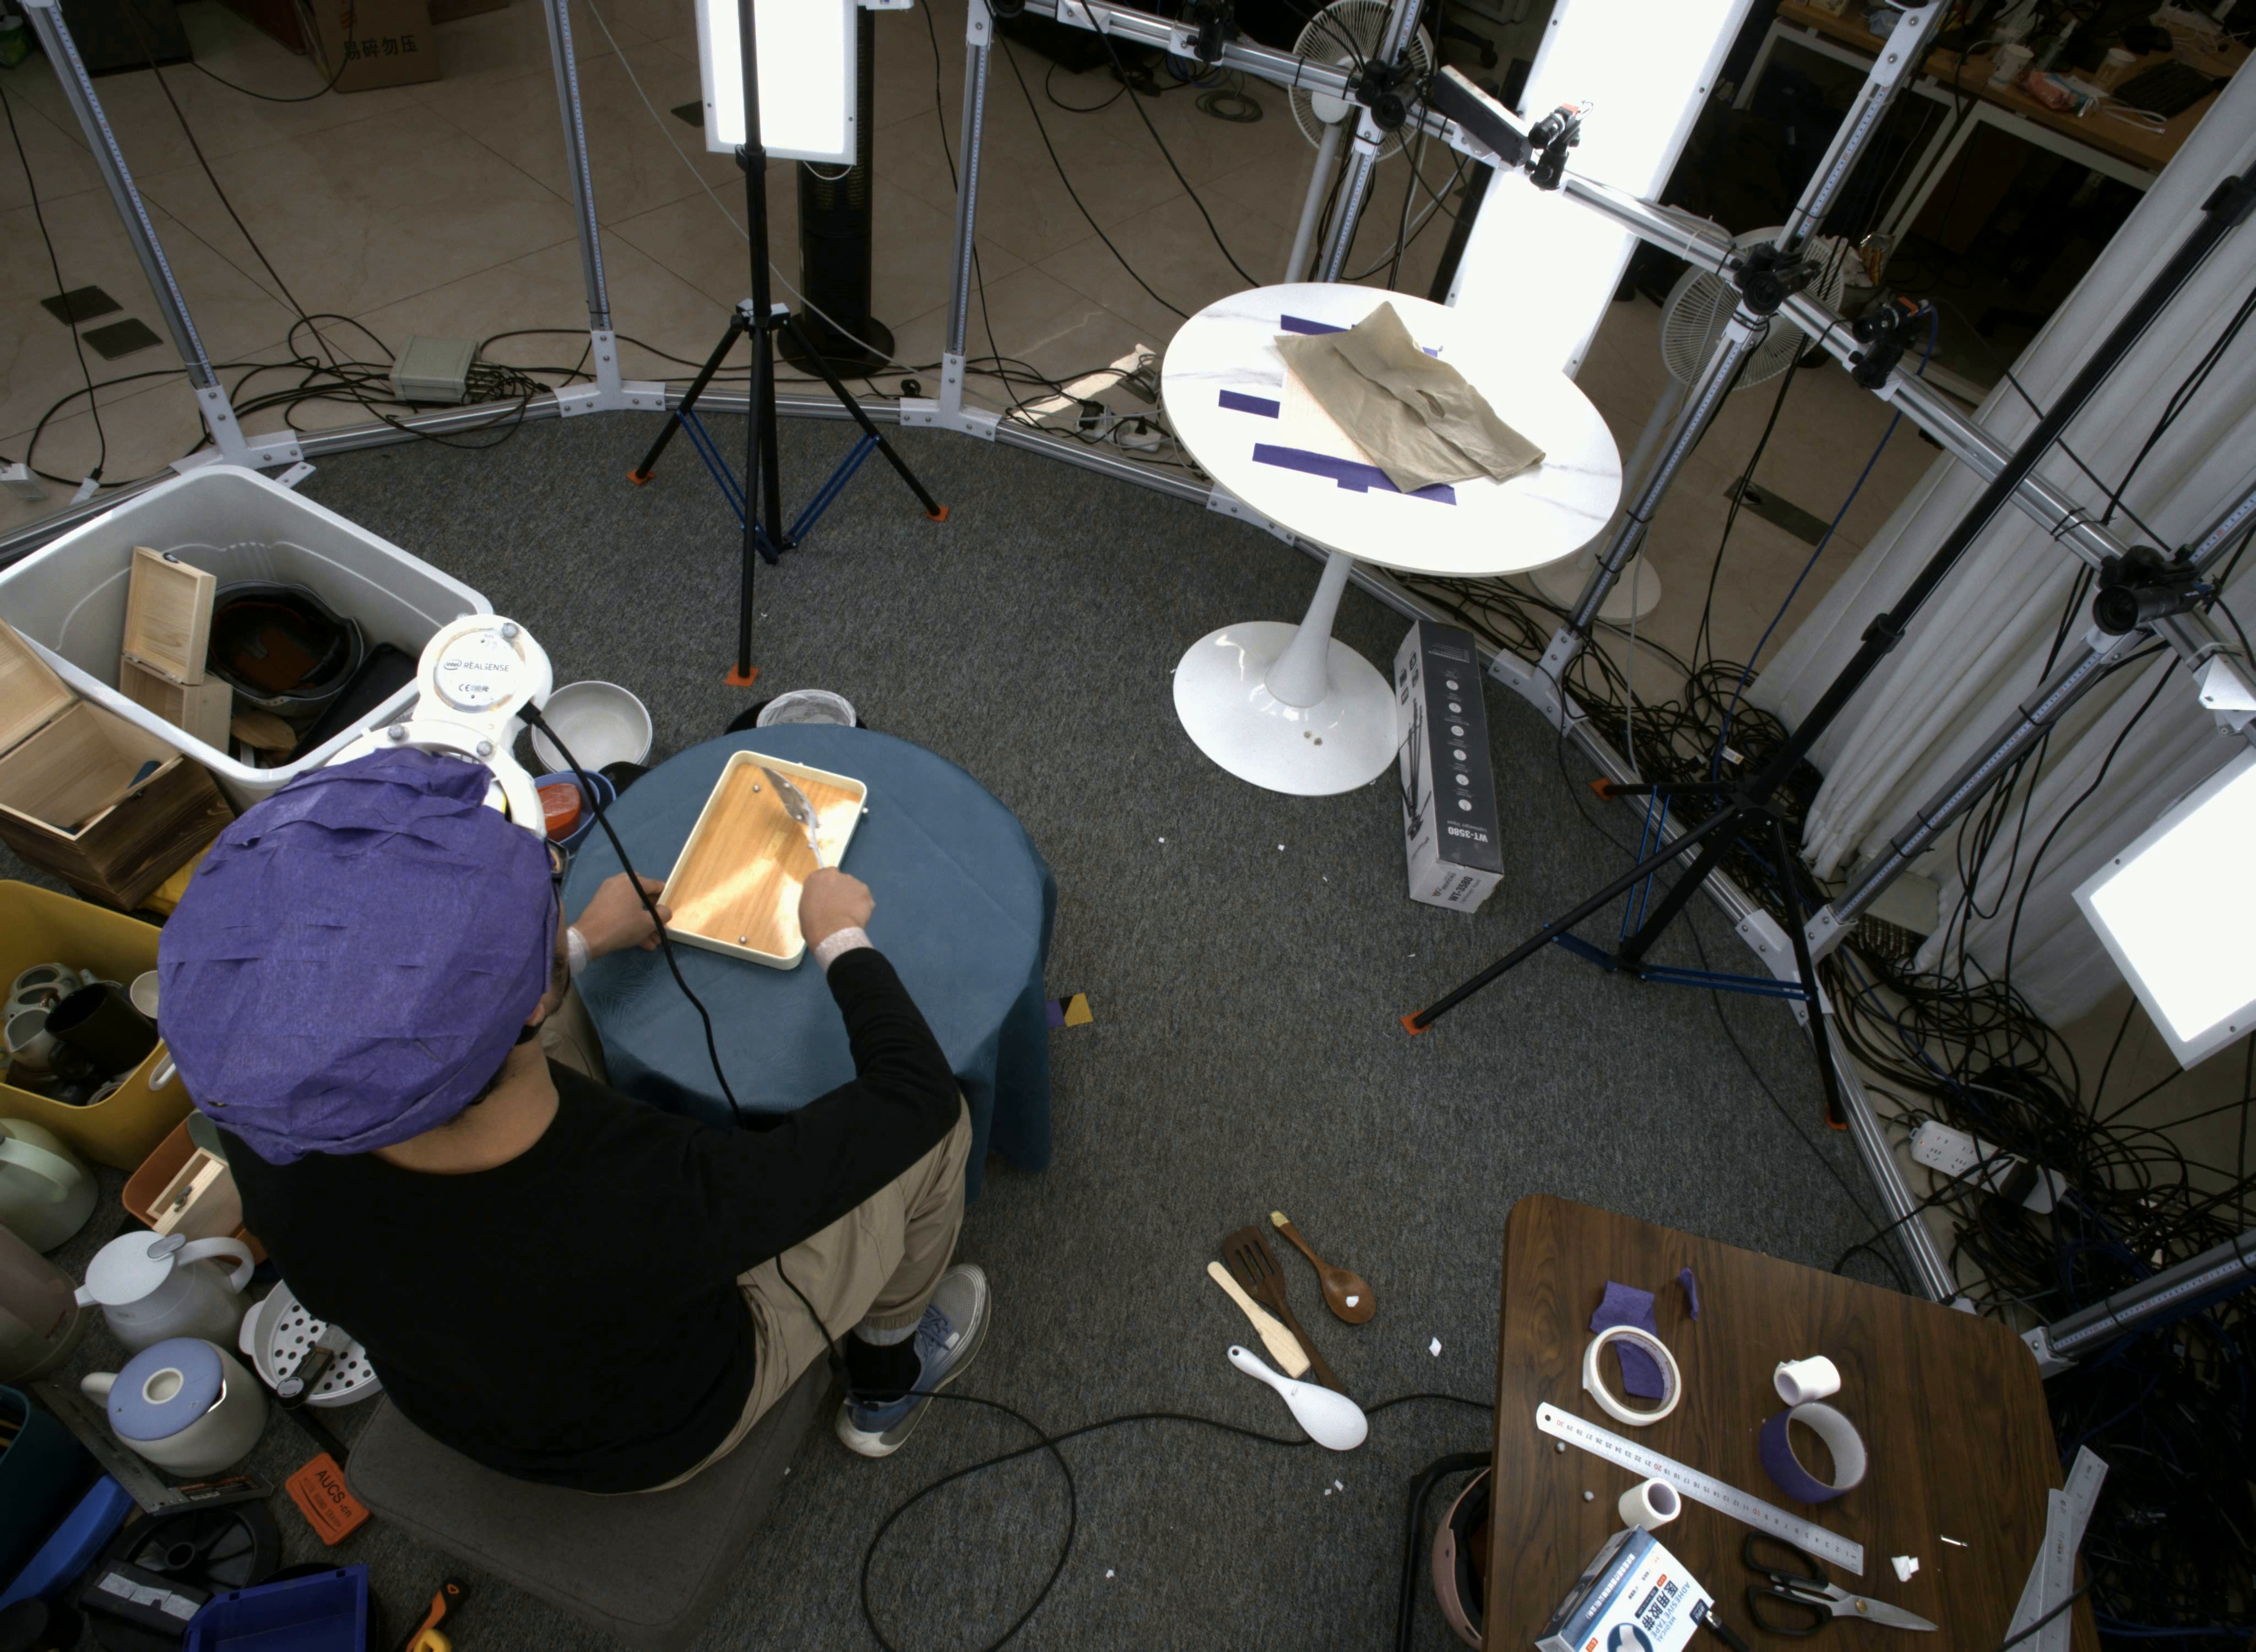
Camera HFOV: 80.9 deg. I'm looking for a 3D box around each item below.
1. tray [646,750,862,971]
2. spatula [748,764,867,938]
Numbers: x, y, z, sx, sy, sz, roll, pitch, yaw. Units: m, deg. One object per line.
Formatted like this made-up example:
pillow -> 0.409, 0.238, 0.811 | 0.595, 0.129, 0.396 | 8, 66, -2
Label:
tray -> -0.473, 0.037, 1.658 | 0.190, 0.028, 0.296 | 16, 51, -4
spatula -> -0.387, 0.032, 1.567 | 0.044, 0.102, 0.352 | -28, 42, -10
